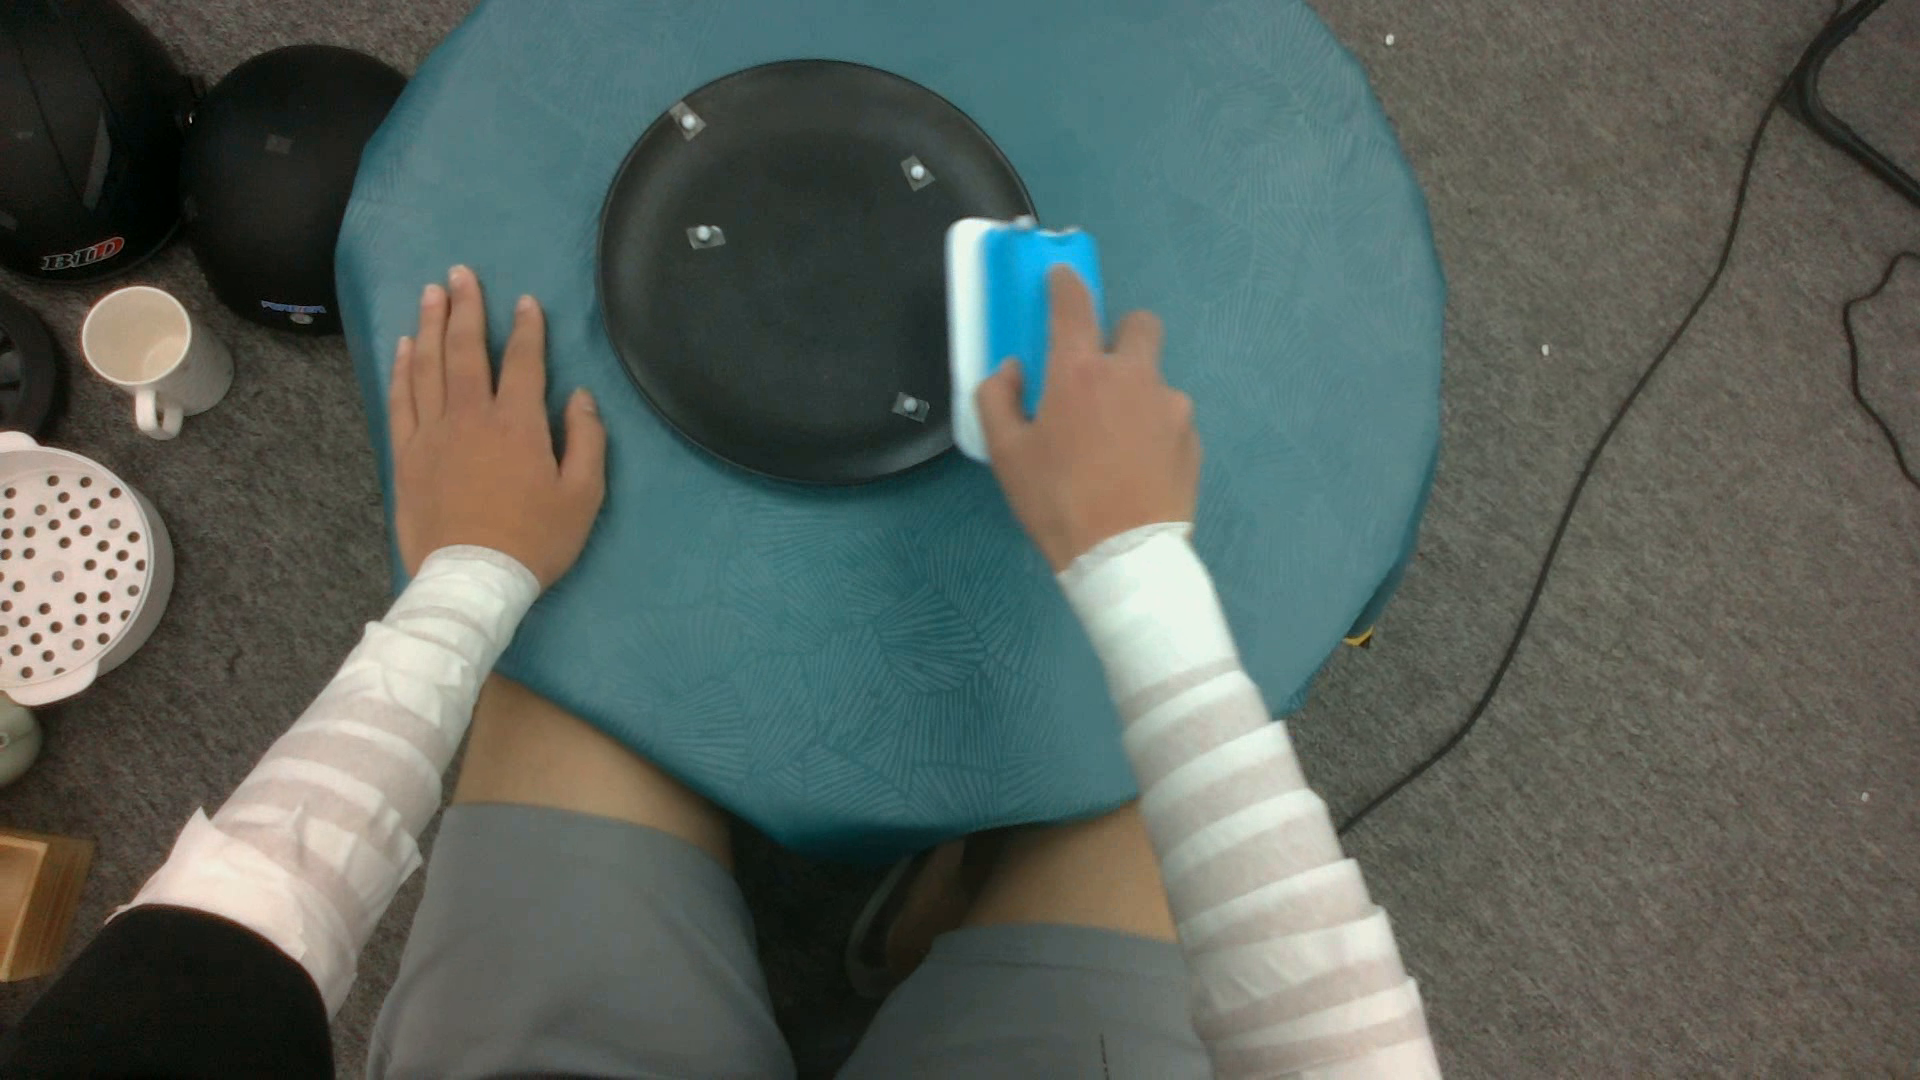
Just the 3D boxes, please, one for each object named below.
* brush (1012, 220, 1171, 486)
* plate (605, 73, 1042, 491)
[{"bbox_3d":[0.072,-0.101,0.699,0.084,0.055,0.144,7,70,-13],"label":"brush"},{"bbox_3d":[-0.071,-0.144,0.763,0.244,0.023,0.245,2,78,-8],"label":"plate"}]
